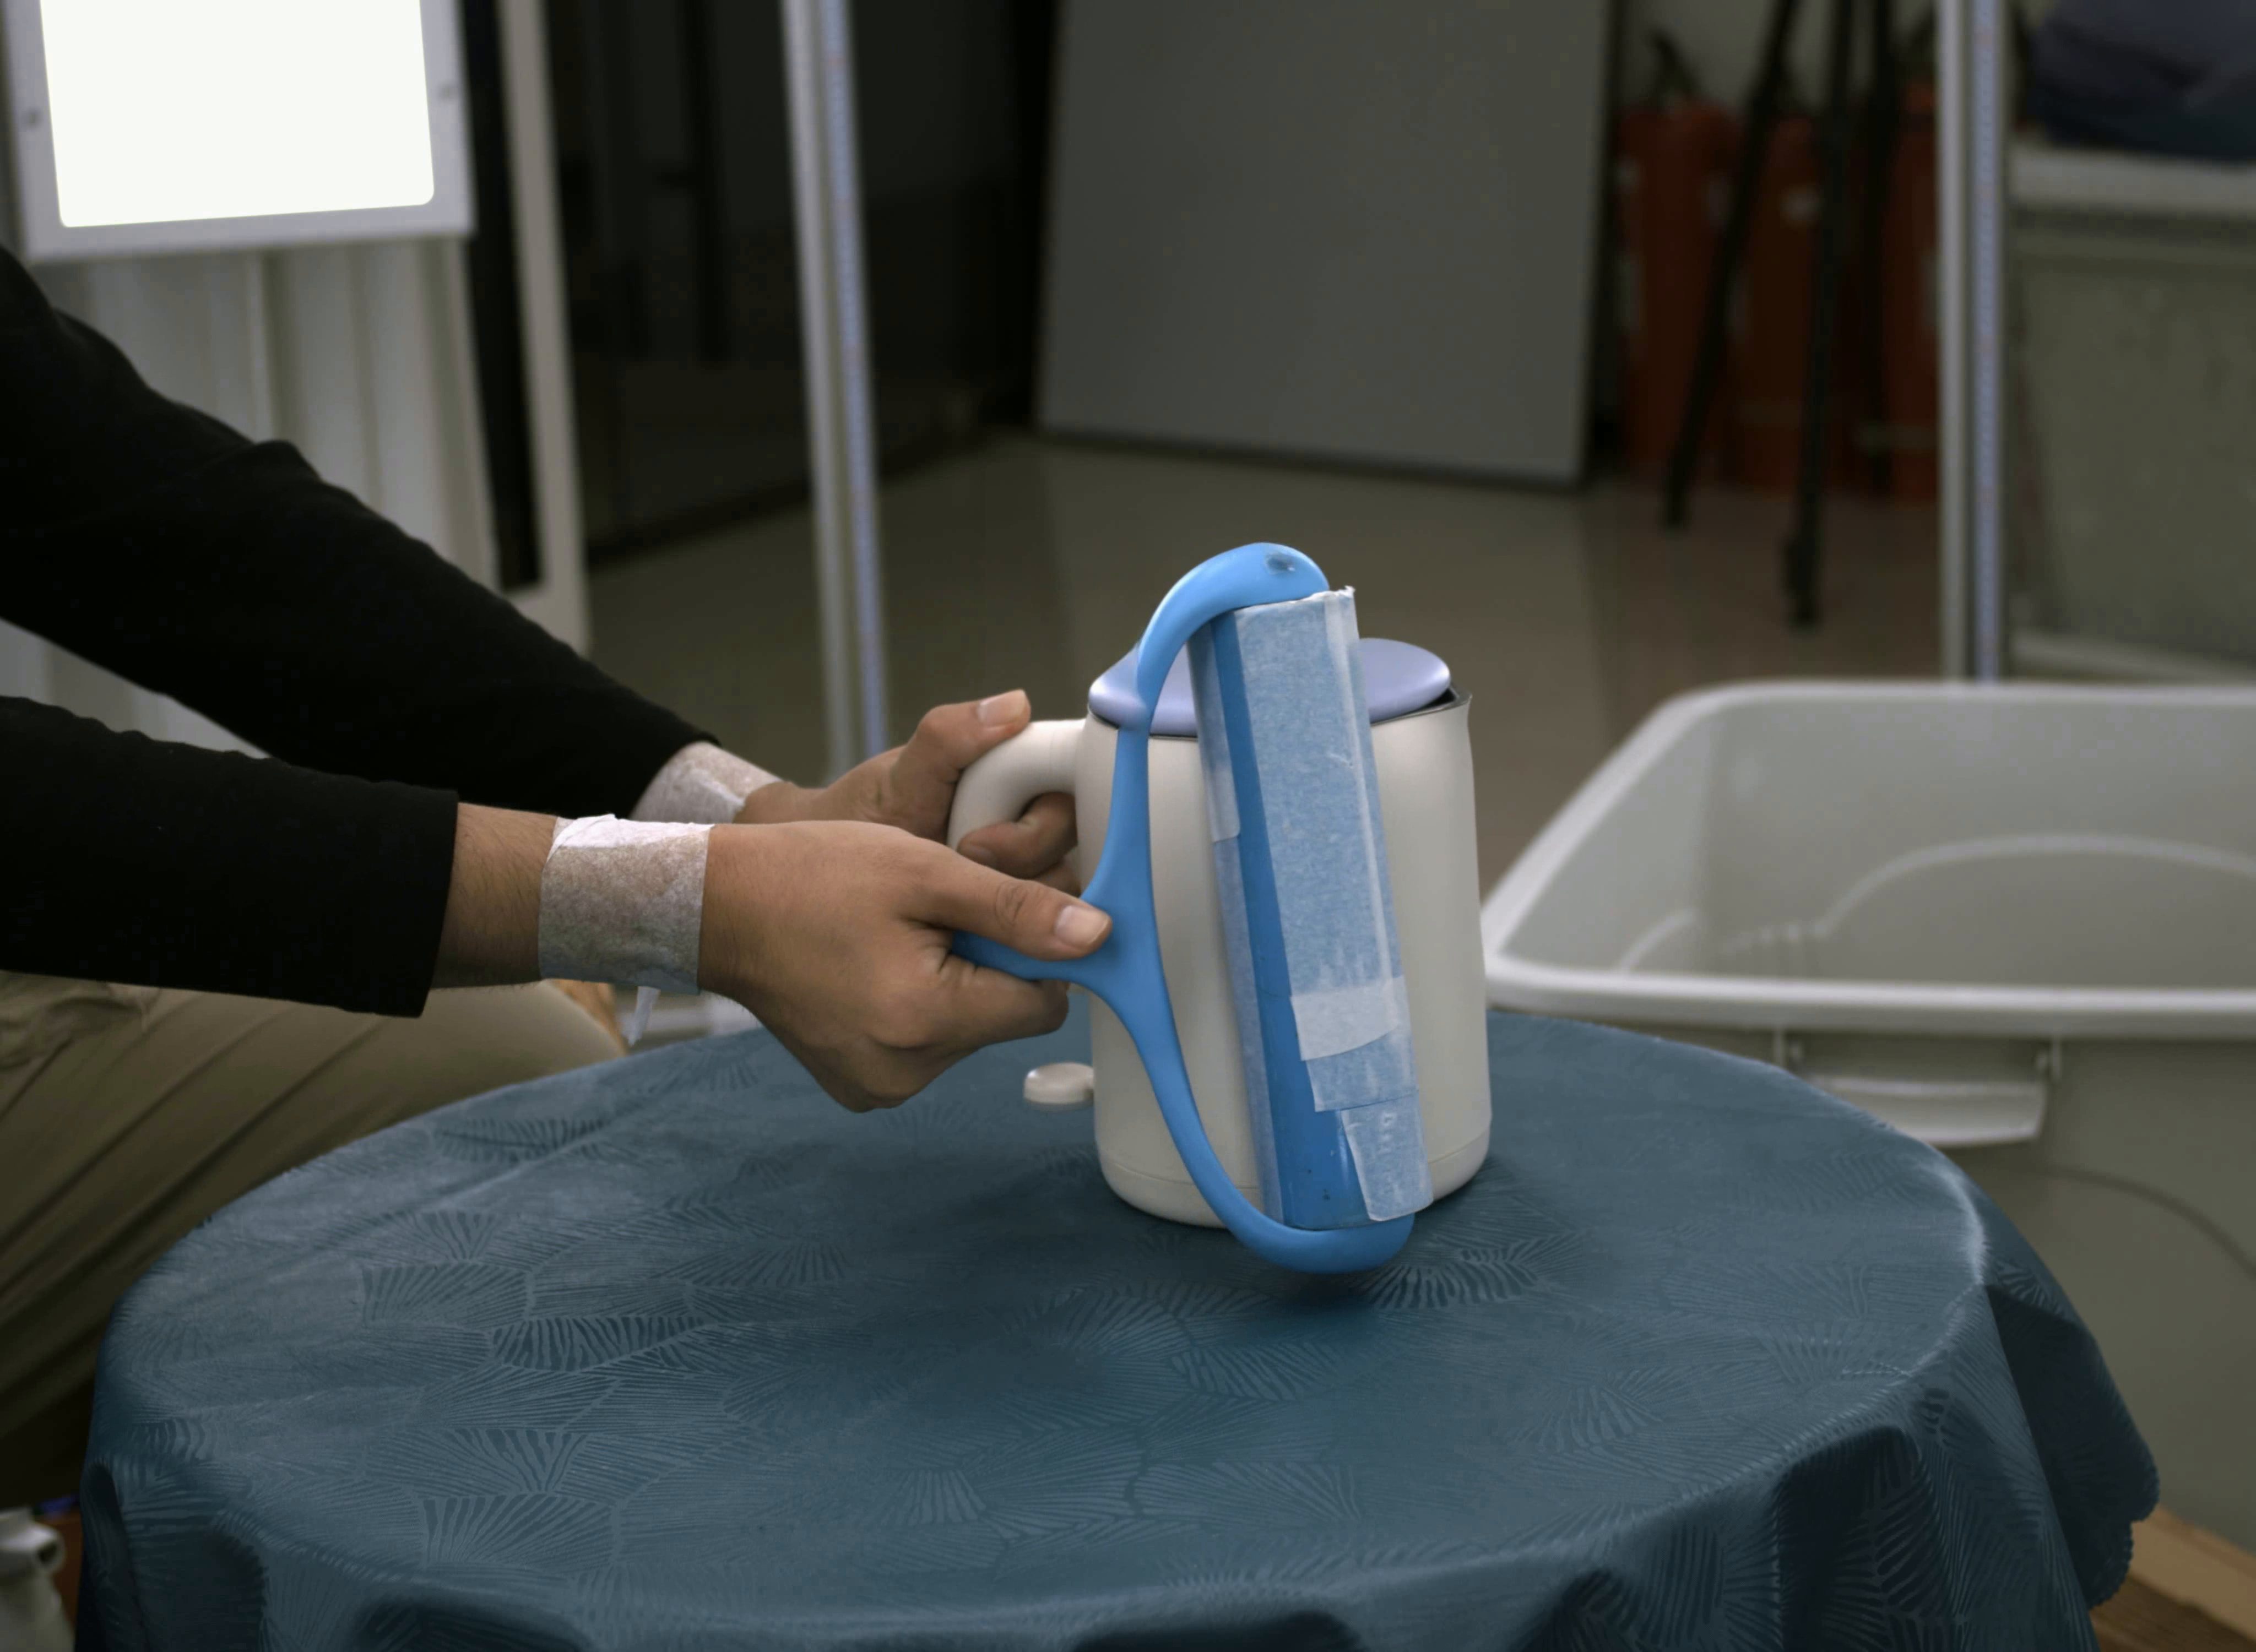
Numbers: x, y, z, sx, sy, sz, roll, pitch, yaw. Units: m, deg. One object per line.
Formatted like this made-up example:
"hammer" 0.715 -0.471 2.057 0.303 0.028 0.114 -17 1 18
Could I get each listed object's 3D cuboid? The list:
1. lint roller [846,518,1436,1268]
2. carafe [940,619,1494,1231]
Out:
"lint roller" -0.002 0.031 1.661 0.178 0.231 0.068 -10 5 6
"carafe" 0.027 0.032 1.762 0.191 0.184 0.131 -2 13 21
